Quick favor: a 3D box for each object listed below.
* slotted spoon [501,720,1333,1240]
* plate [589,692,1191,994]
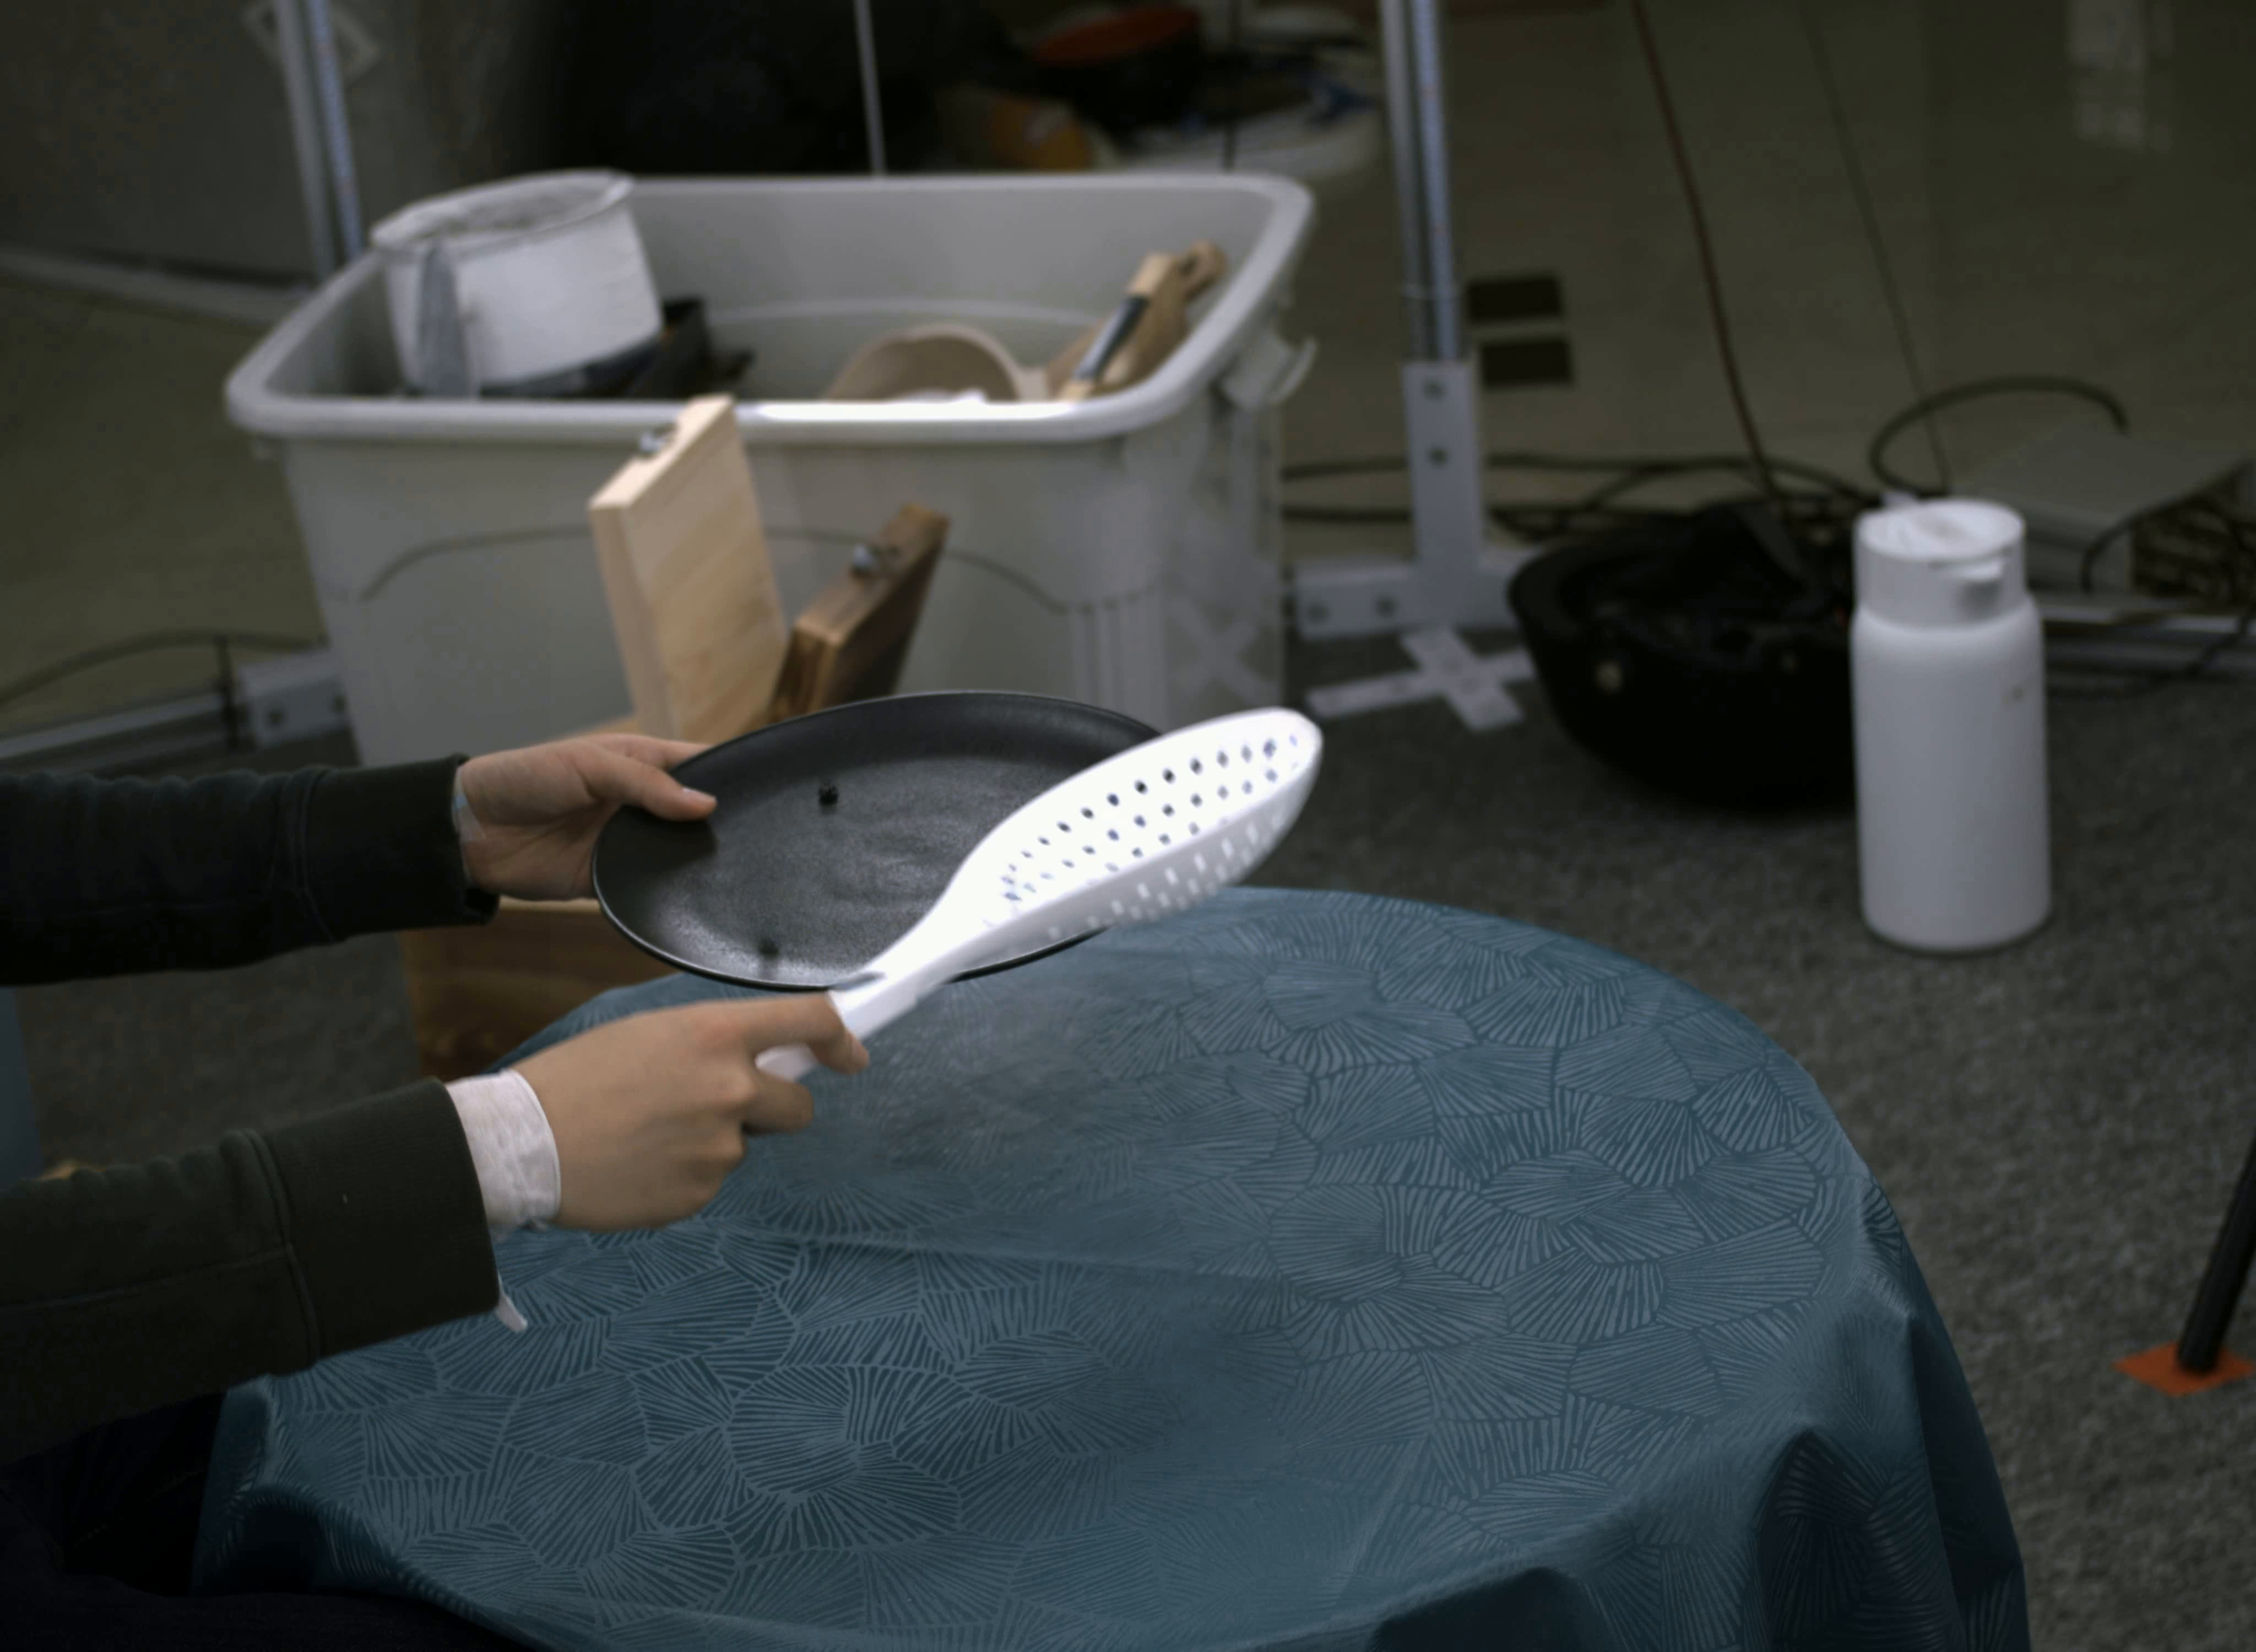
[{"bbox_3d":[-0.070,0.050,1.950,0.347,0.046,0.135,-27,15,-29],"label":"slotted spoon"},{"bbox_3d":[-0.088,0.012,2.202,0.244,0.024,0.240,-5,28,3],"label":"plate"}]
